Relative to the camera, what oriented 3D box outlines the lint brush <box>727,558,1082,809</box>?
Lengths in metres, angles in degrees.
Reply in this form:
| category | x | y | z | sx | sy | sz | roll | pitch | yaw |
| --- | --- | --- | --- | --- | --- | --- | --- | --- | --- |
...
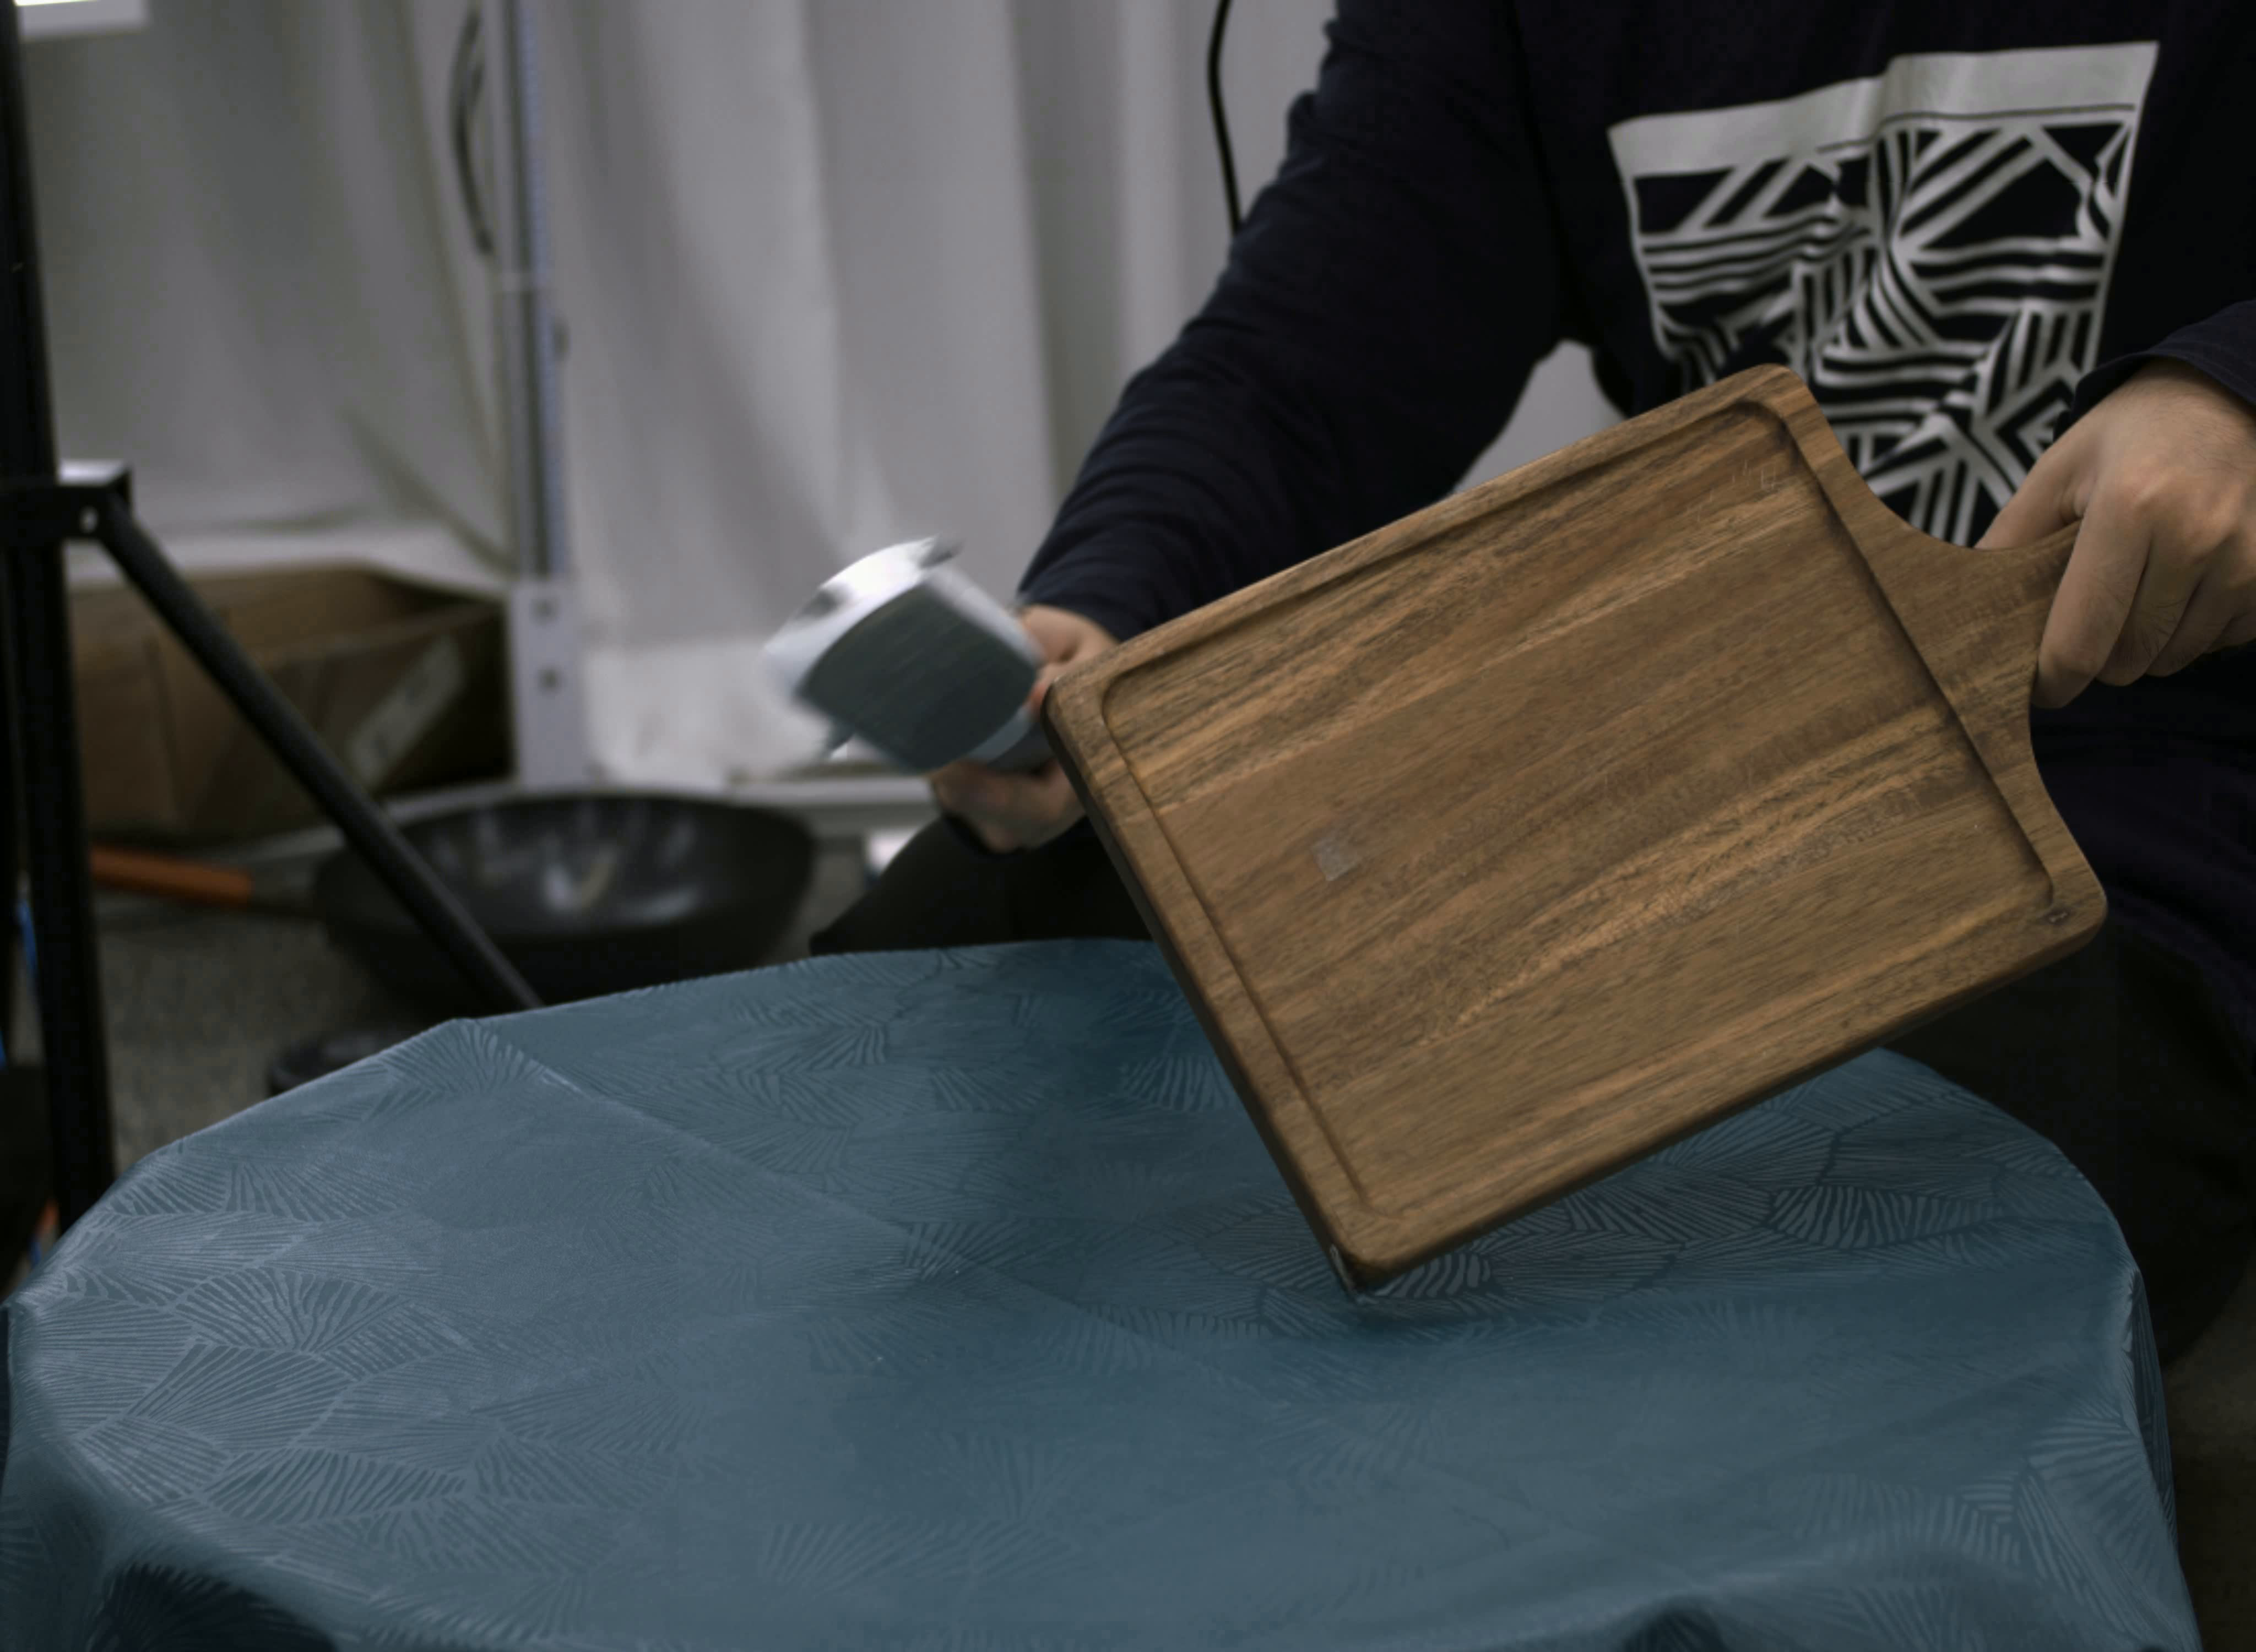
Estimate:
| category | x | y | z | sx | sy | sz | roll | pitch | yaw |
| --- | --- | --- | --- | --- | --- | --- | --- | --- | --- |
| lint brush | -0.058 | -0.037 | 1.622 | 0.021 | 0.060 | 0.304 | 47 | 5 | 15 |

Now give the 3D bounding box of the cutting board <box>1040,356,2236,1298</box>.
| category | x | y | z | sx | sy | sz | roll | pitch | yaw |
| --- | --- | --- | --- | --- | --- | --- | --- | --- | --- |
| cutting board | 0.171 | -0.023 | 1.515 | 0.348 | 0.204 | 0.023 | -24 | -18 | -13 |
